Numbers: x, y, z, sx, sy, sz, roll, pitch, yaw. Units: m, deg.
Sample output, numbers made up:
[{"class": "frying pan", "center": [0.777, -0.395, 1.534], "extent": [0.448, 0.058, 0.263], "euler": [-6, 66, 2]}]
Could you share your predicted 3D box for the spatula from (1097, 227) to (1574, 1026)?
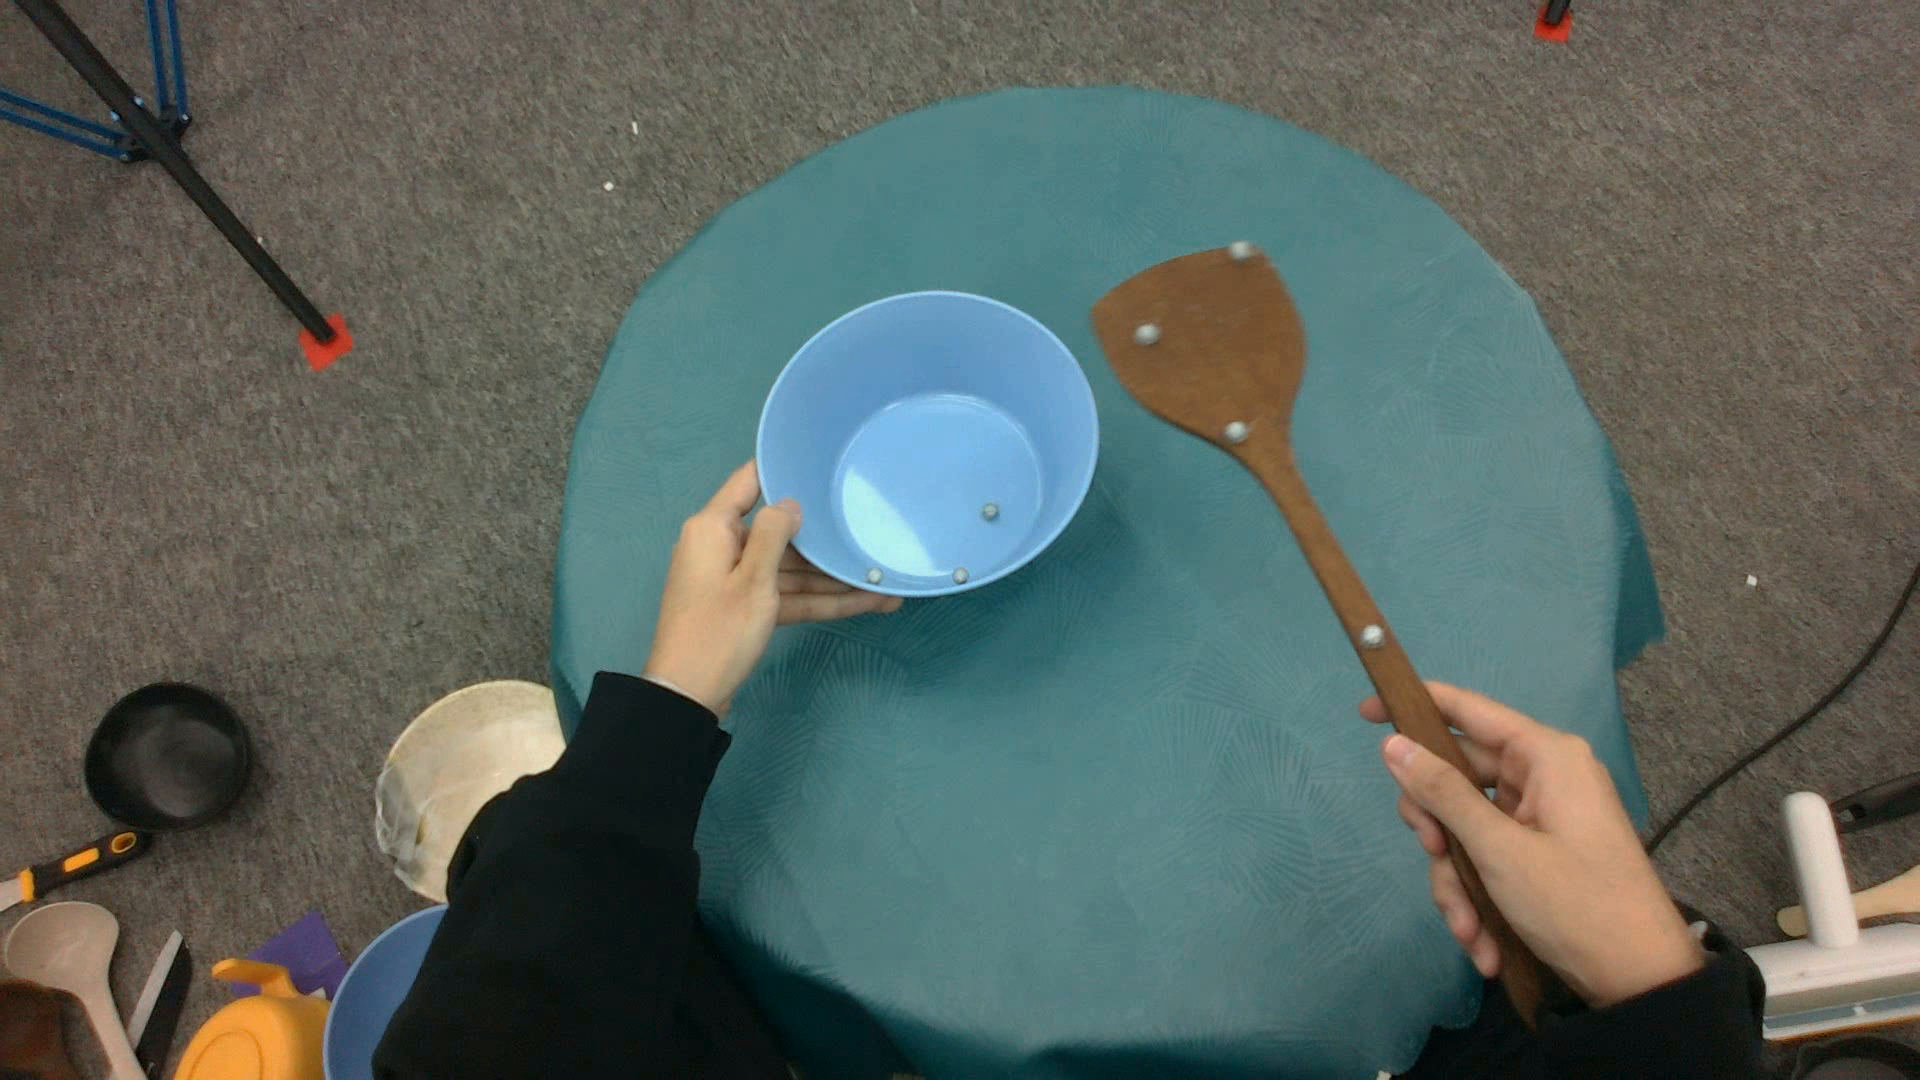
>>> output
[{"class": "spatula", "center": [0.164, 0.017, 0.598], "extent": [0.096, 0.016, 0.387], "euler": [-18, 63, -3]}]

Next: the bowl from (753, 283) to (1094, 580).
[{"class": "bowl", "center": [-0.017, -0.046, 0.730], "extent": [0.176, 0.070, 0.177], "euler": [-1, 63, 2]}]
